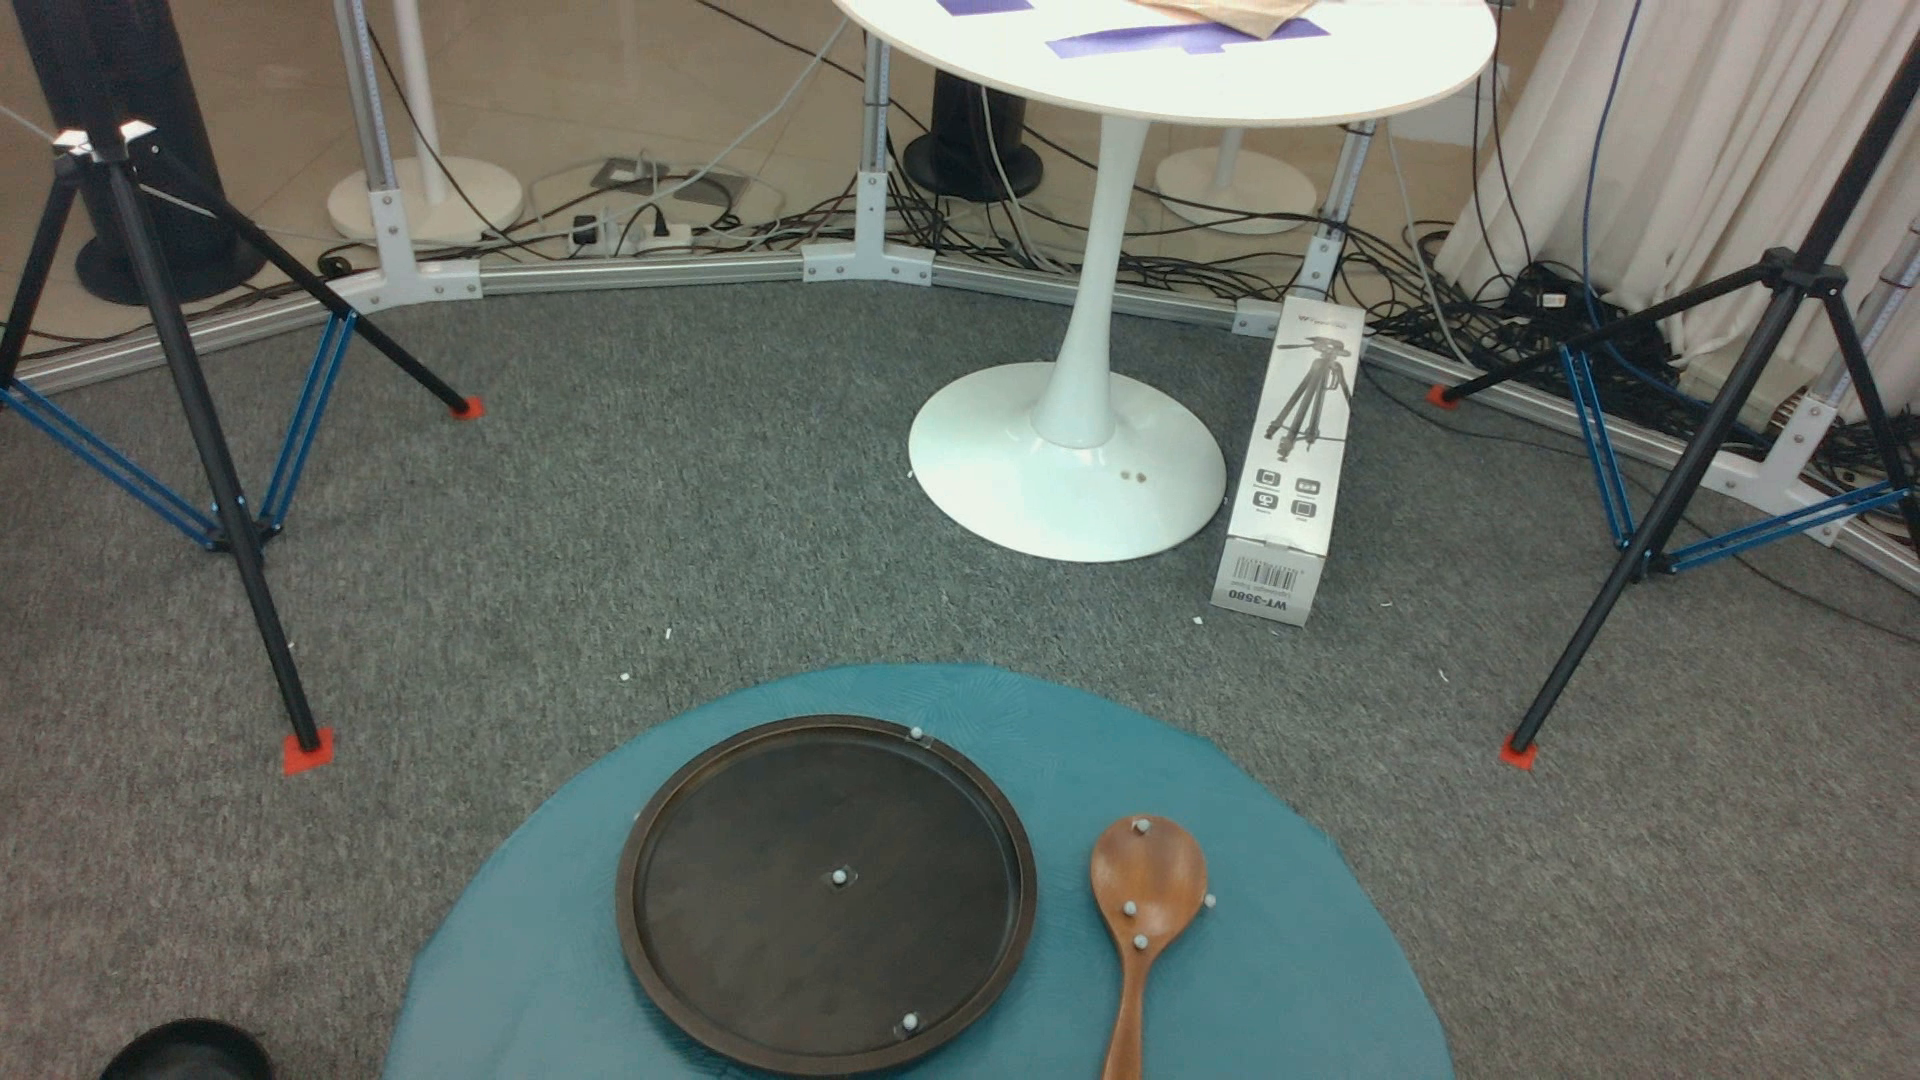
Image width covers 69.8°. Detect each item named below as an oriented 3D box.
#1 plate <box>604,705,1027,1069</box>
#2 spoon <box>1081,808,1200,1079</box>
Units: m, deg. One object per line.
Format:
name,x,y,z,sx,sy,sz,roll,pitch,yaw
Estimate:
plate,-0.086,0.202,0.837,0.255,0.029,0.256,4,40,-3
spoon,0.102,0.248,0.819,0.075,0.017,0.217,11,41,4
